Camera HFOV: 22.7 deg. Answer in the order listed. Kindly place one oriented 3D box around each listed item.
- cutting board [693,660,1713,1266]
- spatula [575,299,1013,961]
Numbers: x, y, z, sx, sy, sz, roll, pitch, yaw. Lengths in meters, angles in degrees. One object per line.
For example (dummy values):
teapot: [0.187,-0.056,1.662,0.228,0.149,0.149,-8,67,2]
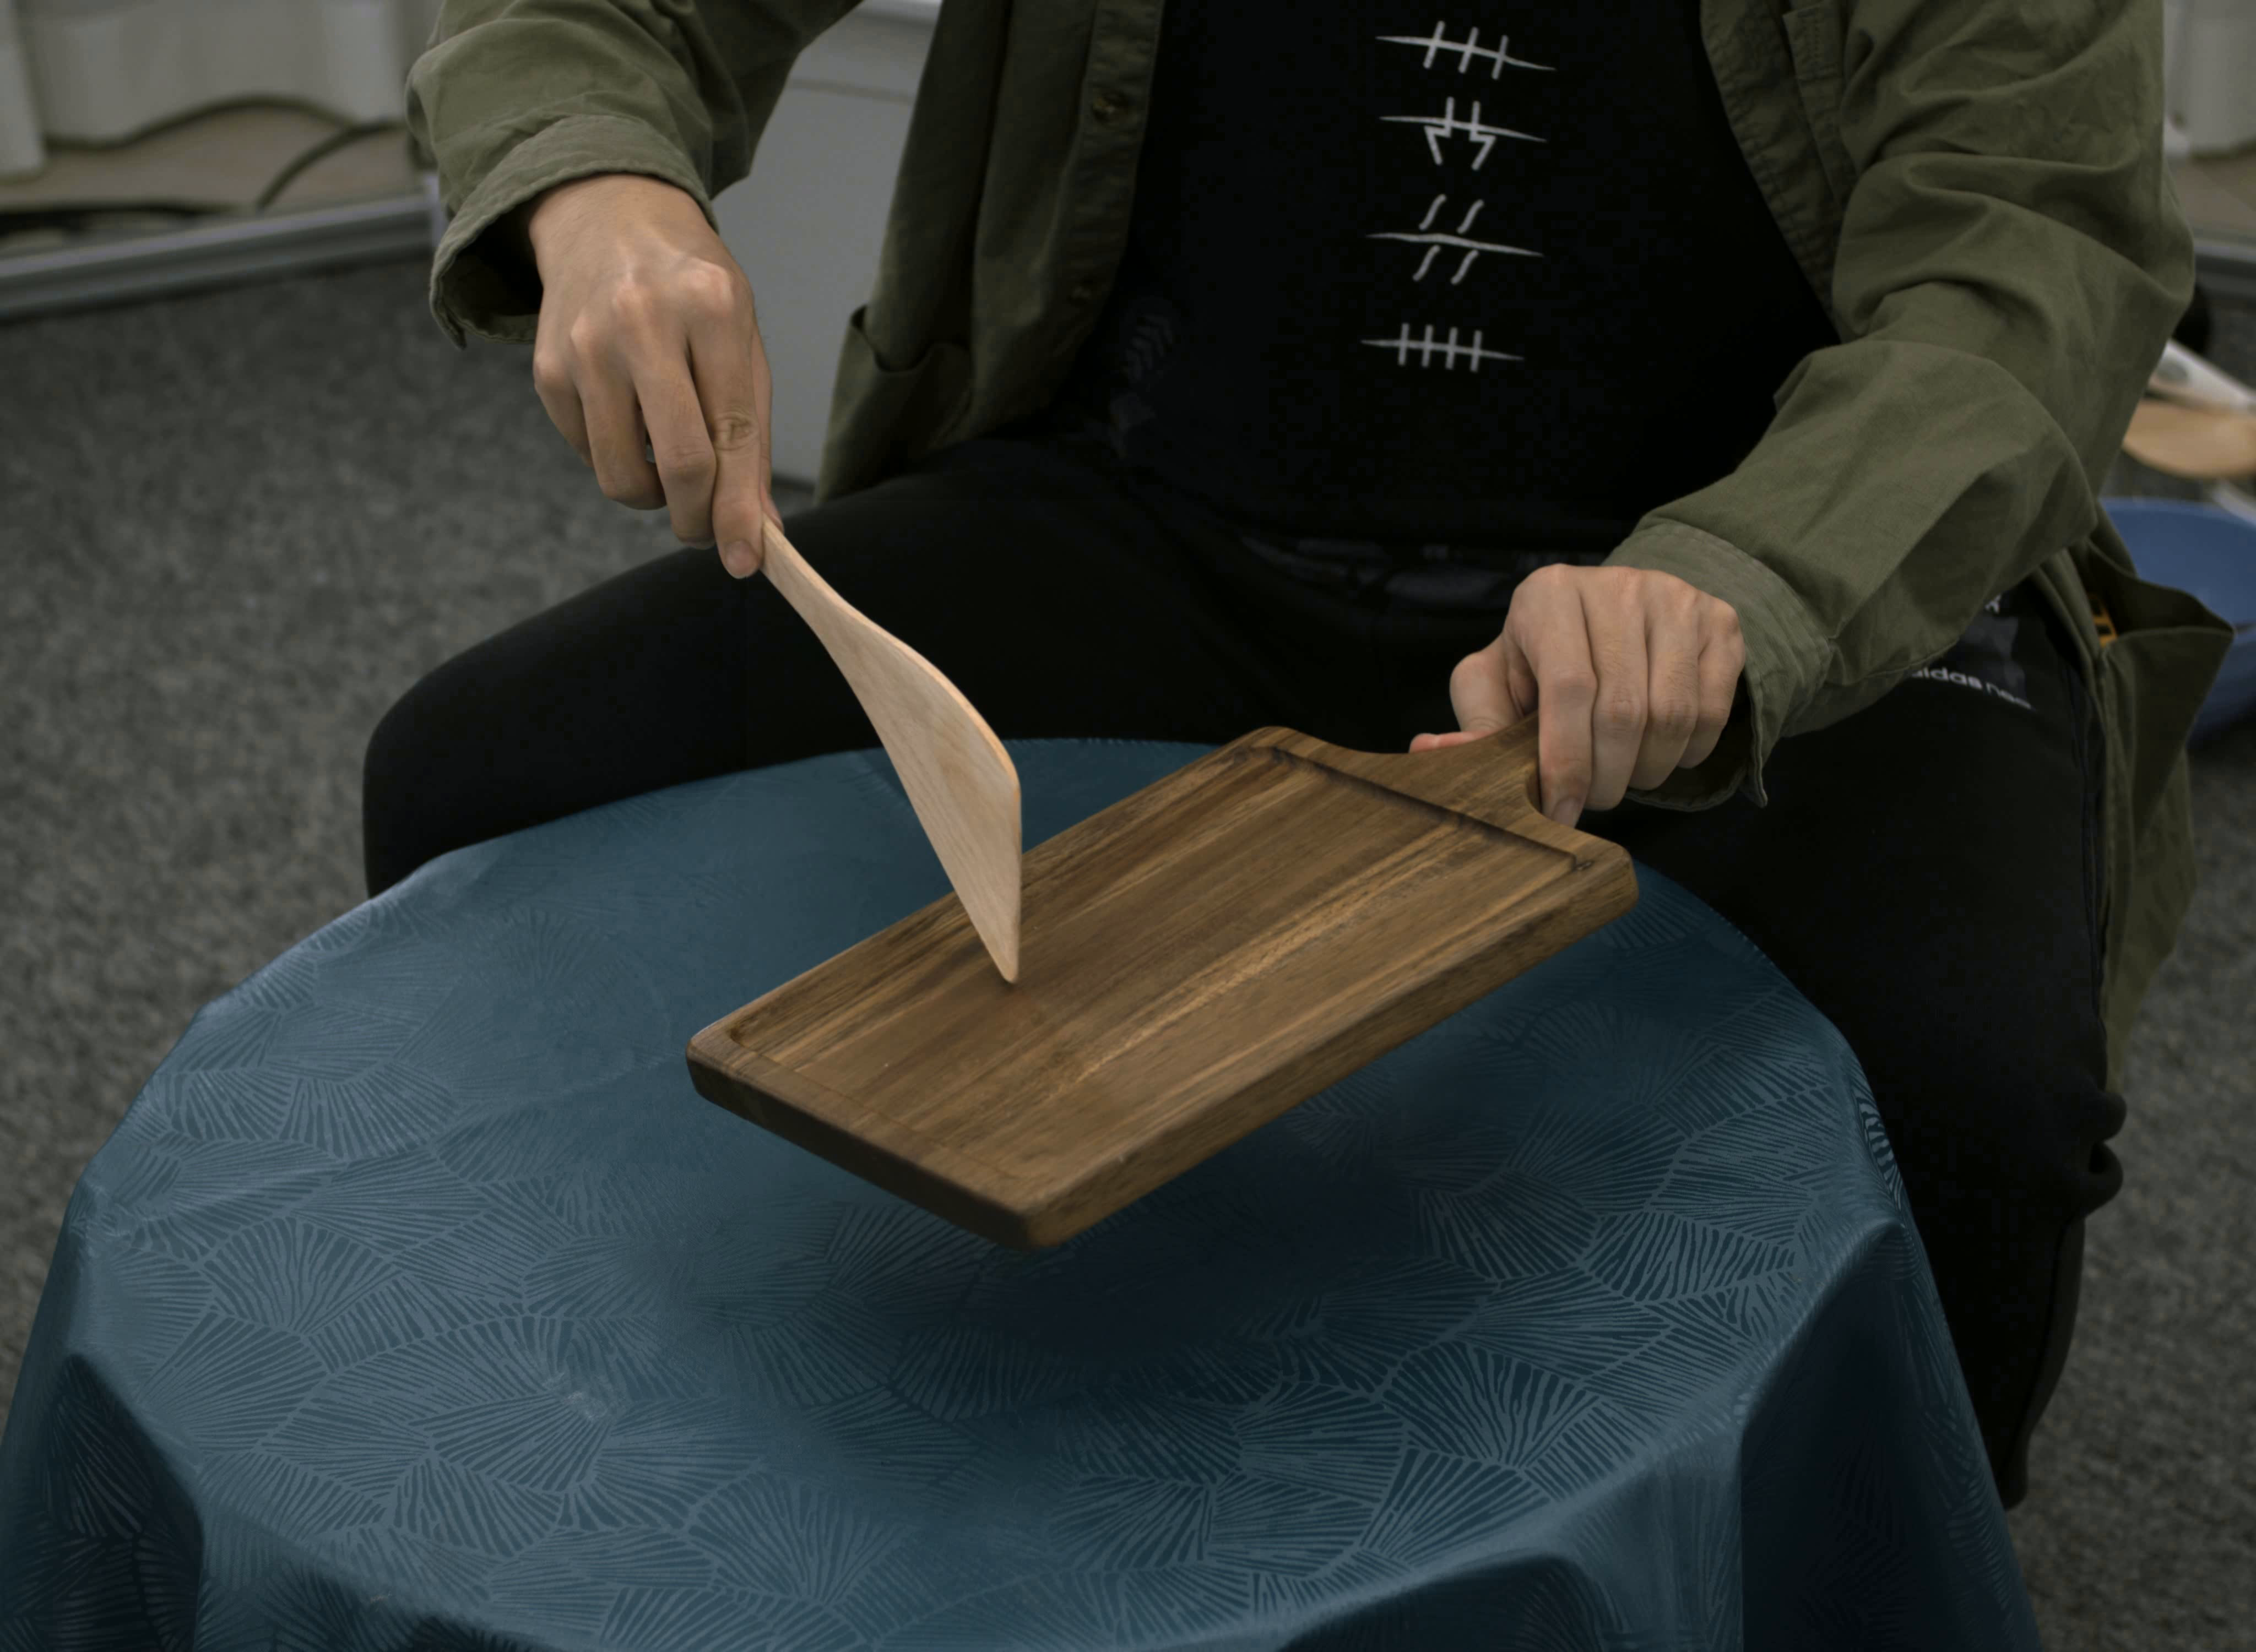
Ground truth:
cutting board: [0.052,0.028,1.794,0.355,0.023,0.201,-28,27,-27]
spatula: [-0.112,-0.081,1.868,0.016,0.079,0.330,-17,45,-26]
